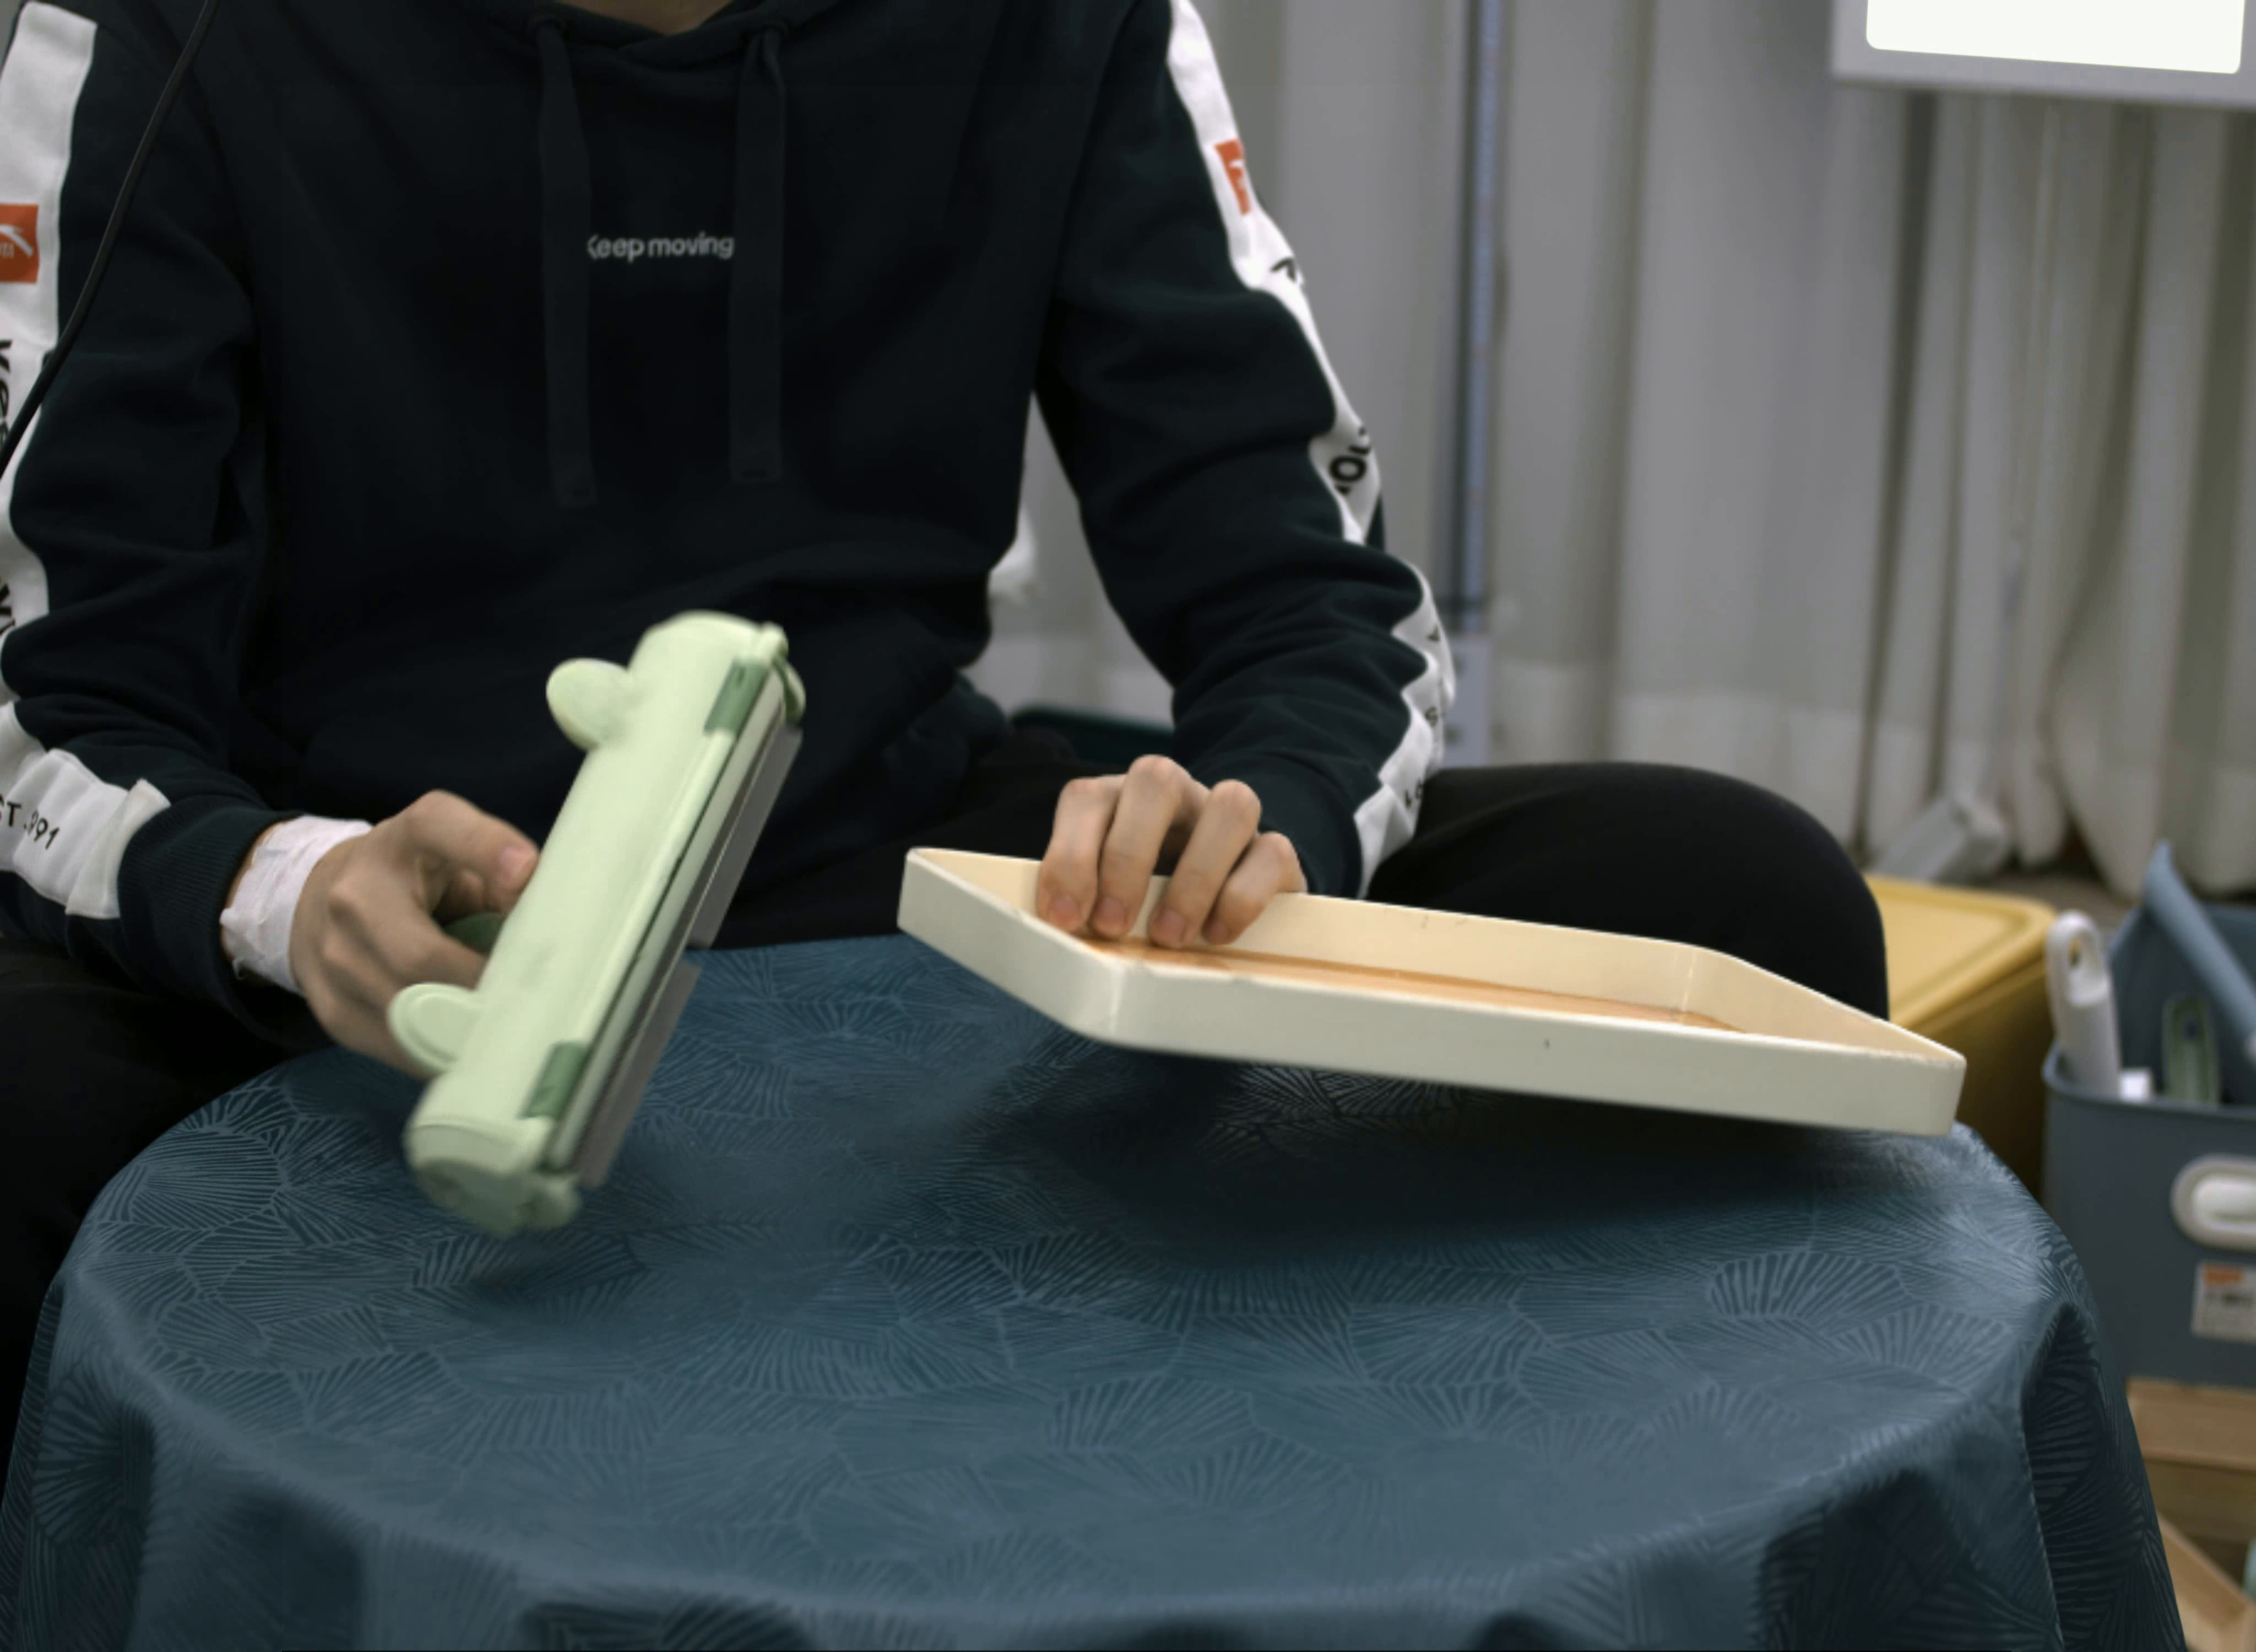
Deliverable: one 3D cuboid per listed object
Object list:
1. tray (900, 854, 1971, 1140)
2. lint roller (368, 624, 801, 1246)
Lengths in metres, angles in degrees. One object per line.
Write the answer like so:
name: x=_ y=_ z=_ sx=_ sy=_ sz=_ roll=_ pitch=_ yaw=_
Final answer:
tray: x=0.094 y=0.054 z=1.649 sx=0.302 sy=0.027 sz=0.189 roll=8 pitch=7 yaw=-23
lint roller: x=-0.197 y=0.032 z=1.594 sx=0.181 sy=0.083 sz=0.198 roll=-8 pitch=48 yaw=48
